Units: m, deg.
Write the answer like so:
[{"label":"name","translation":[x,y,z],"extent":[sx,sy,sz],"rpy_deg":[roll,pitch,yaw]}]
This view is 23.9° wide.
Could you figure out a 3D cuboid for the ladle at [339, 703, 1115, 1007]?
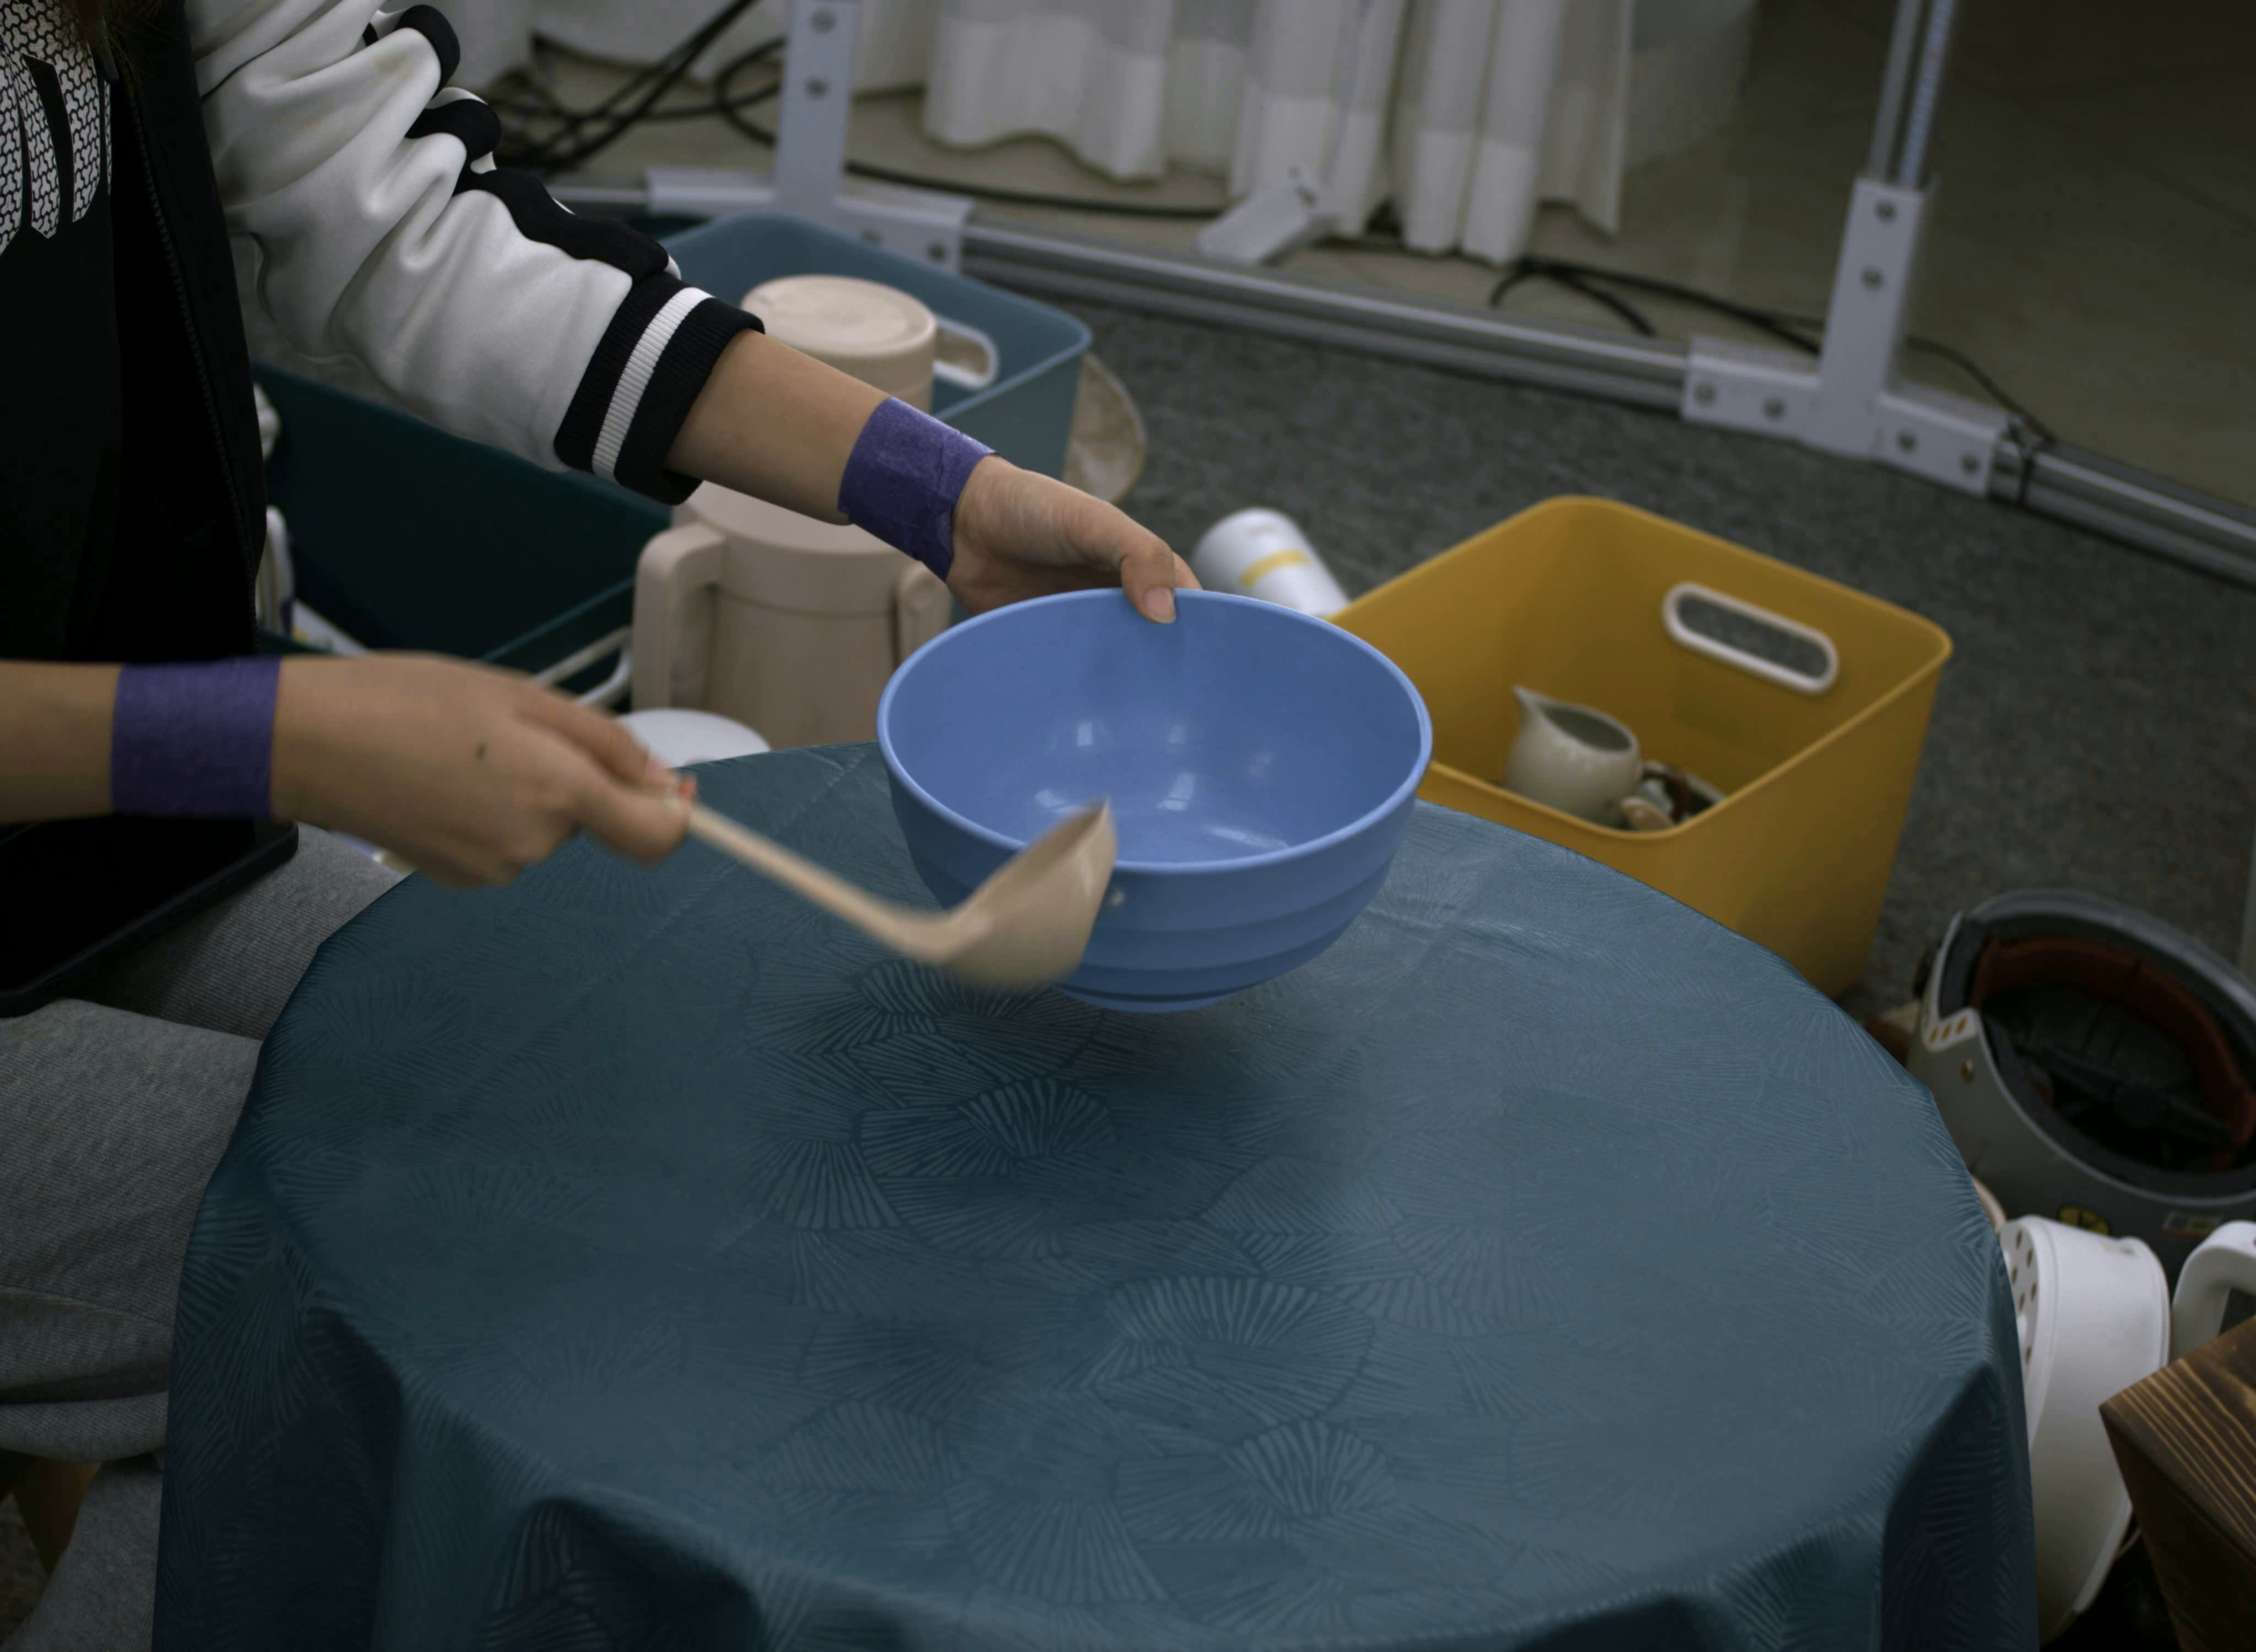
[{"label":"ladle","translation":[-0.126,-0.016,1.721],"extent":[0.254,0.073,0.072],"rpy_deg":[24,20,-2]}]

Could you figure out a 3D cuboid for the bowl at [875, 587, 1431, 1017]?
[{"label":"bowl","translation":[0.007,0.004,1.894],"extent":[0.196,0.095,0.198],"rpy_deg":[1,32,-1]}]
